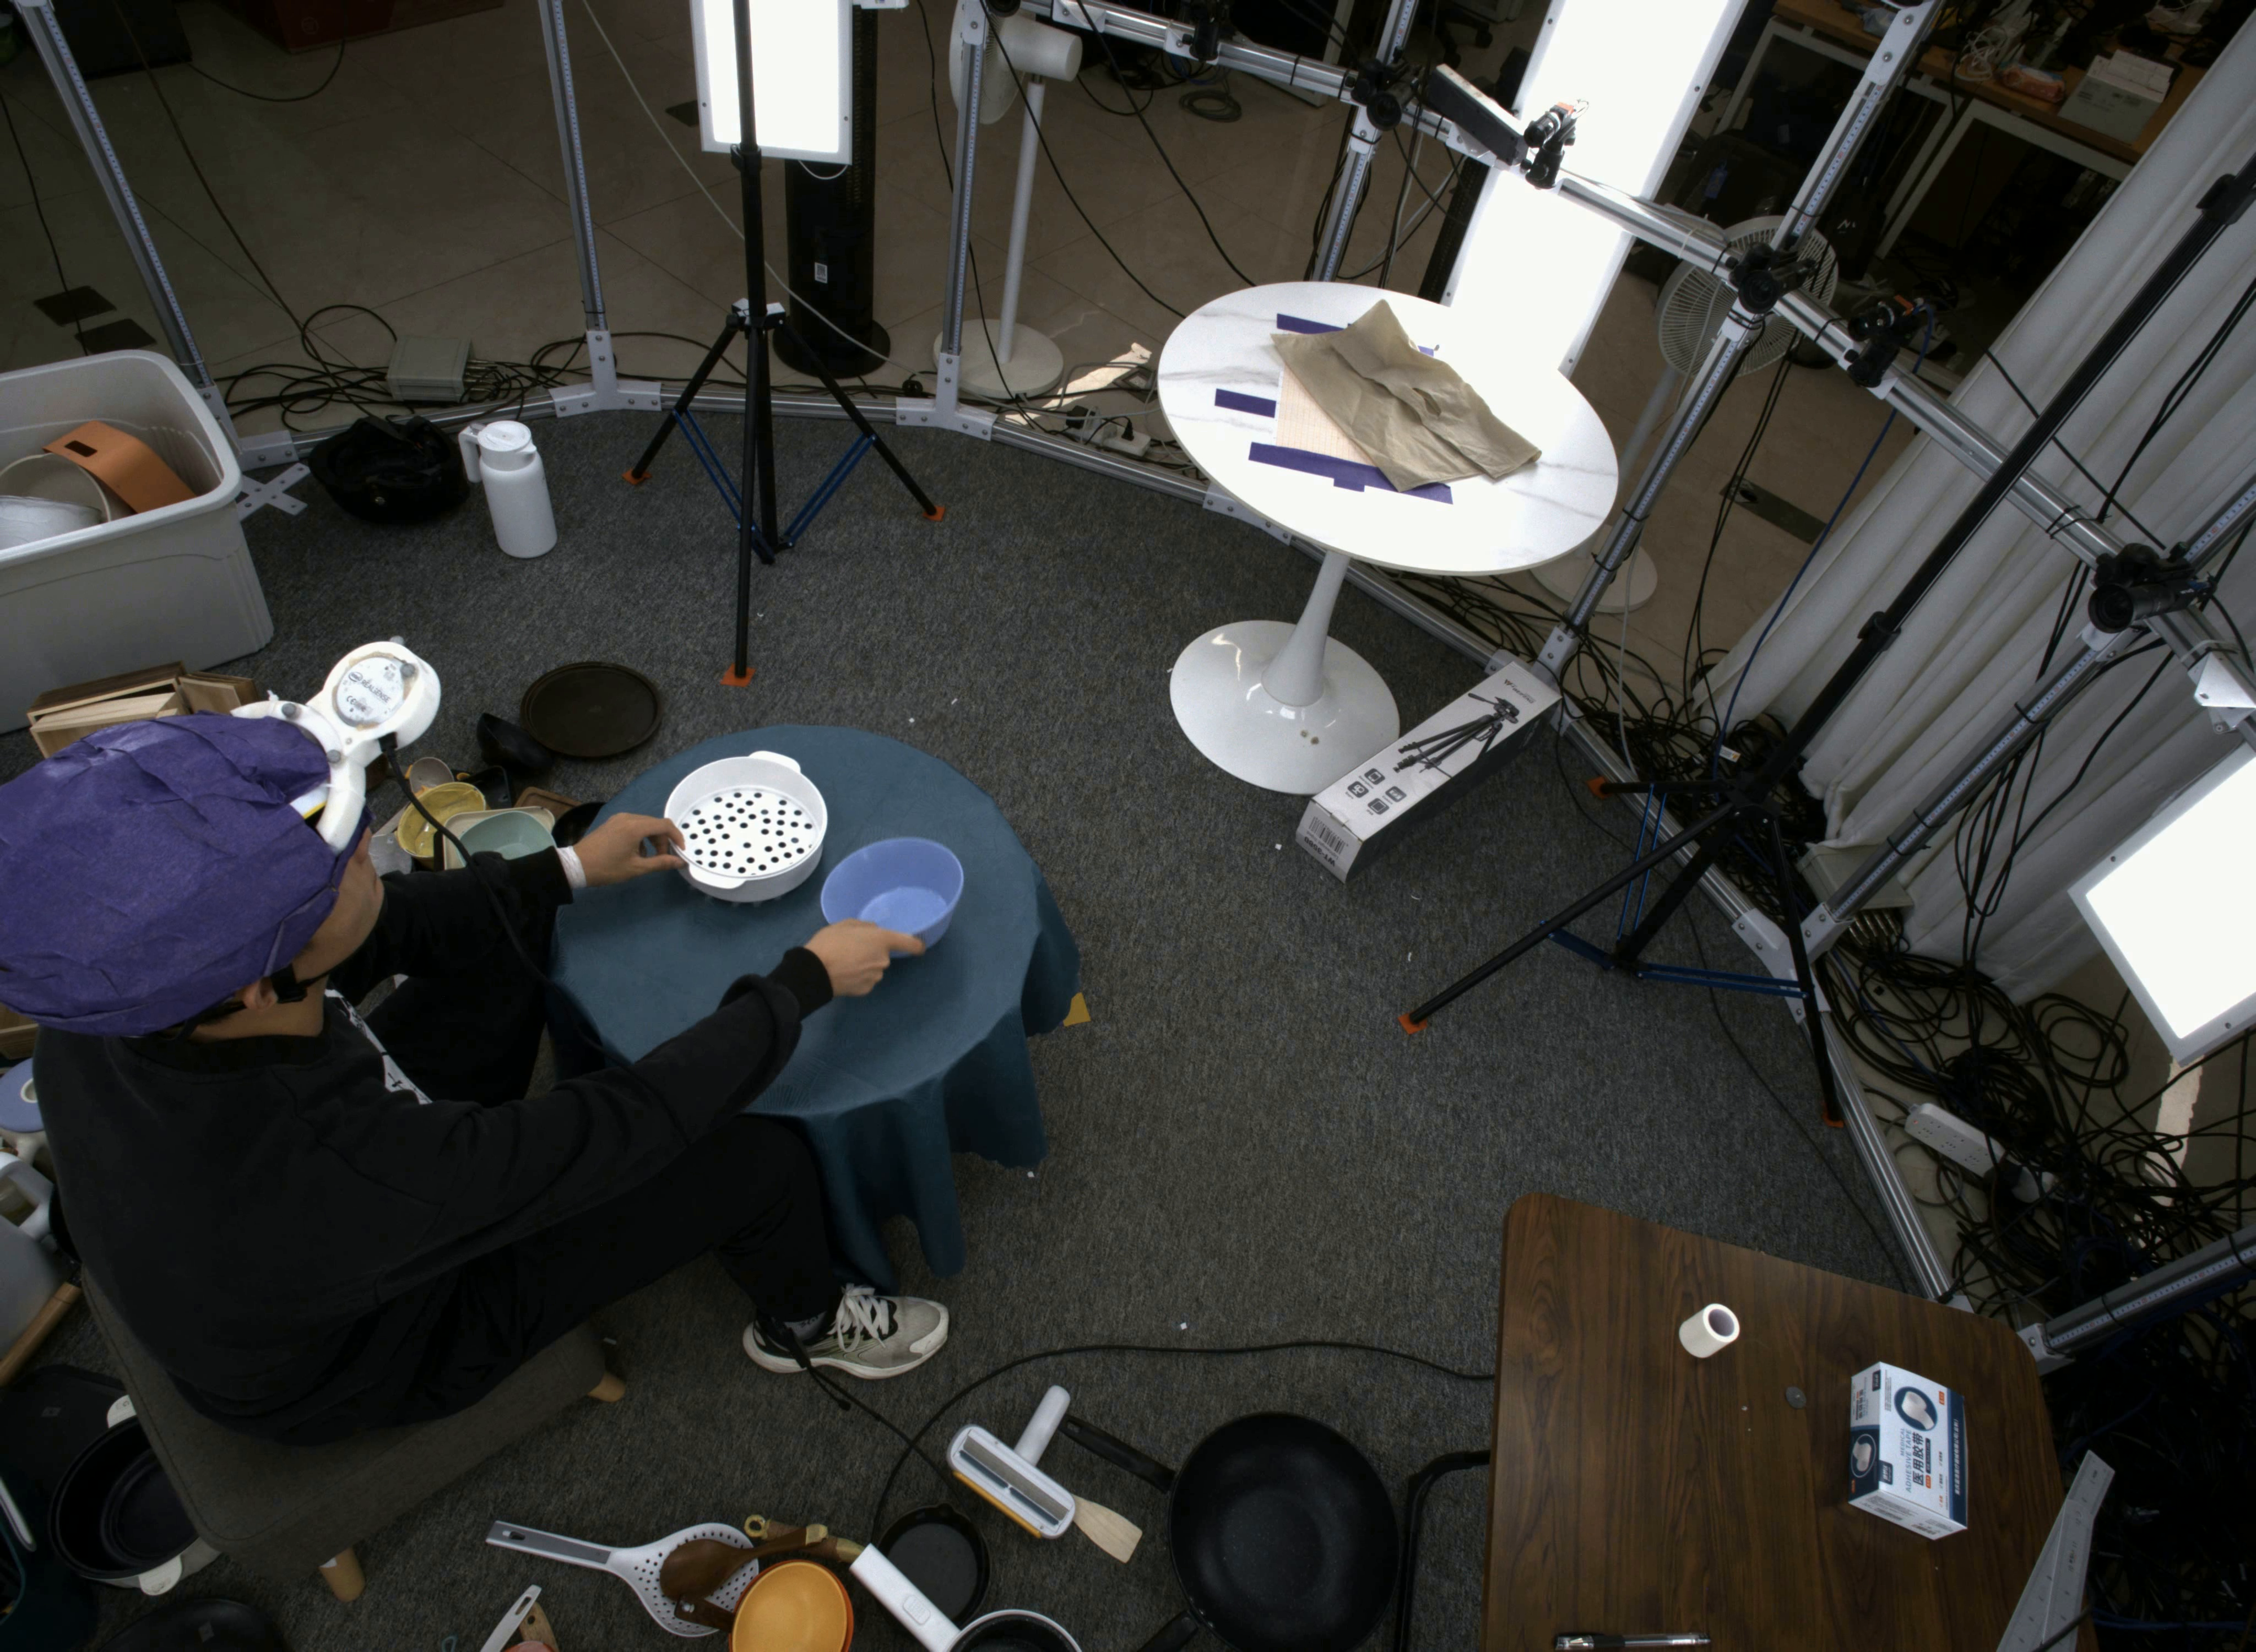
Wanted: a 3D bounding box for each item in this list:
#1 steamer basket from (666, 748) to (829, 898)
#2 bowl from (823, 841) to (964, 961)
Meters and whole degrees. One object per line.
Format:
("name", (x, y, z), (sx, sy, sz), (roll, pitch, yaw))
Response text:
("steamer basket", (-0.489, 0.000, 1.665), (0.201, 0.070, 0.227), (16, 48, -4))
("bowl", (-0.284, 0.101, 1.611), (0.173, 0.073, 0.172), (-2, 42, 3))
